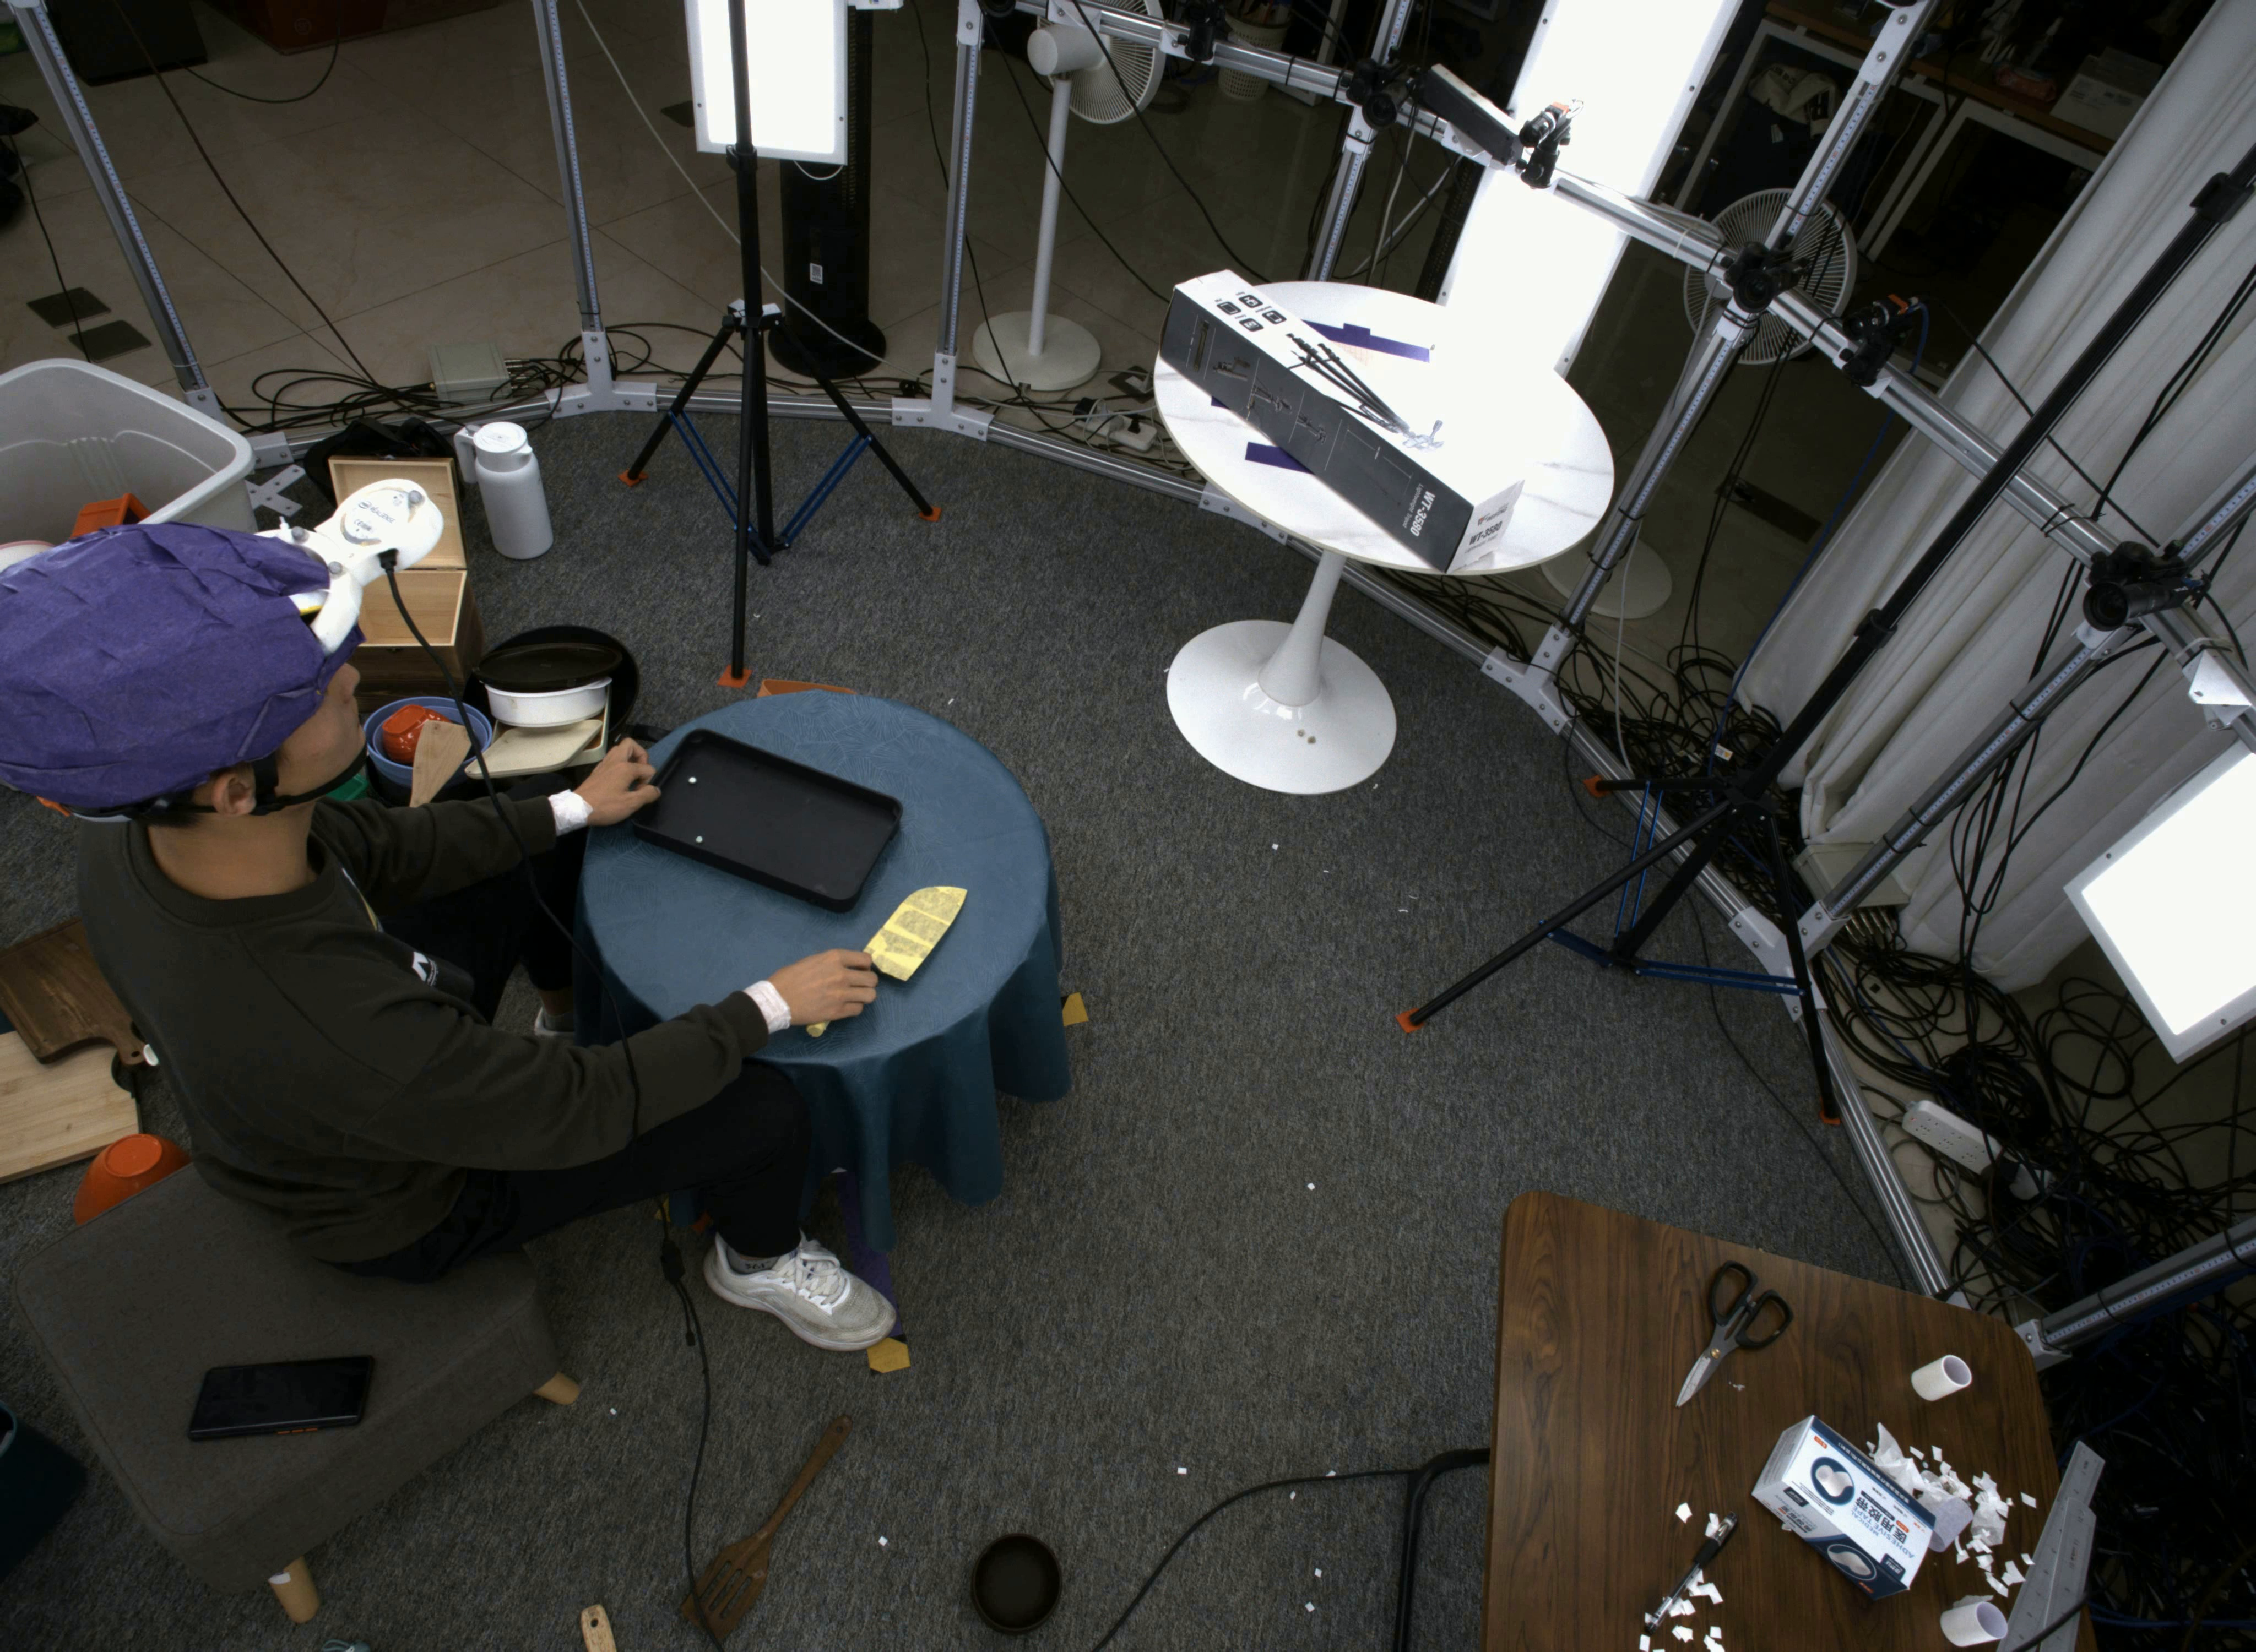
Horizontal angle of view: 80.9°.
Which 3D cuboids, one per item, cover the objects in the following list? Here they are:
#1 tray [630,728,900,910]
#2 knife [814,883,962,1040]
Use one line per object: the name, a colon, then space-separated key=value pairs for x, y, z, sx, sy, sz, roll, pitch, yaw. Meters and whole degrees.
tray: x=-0.477 y=-0.013 z=1.708 sx=0.315 sy=0.038 sz=0.182 roll=19 pitch=53 yaw=0
knife: x=-0.295 y=0.162 z=1.628 sx=0.079 sy=0.028 sz=0.288 roll=24 pitch=47 yaw=14
